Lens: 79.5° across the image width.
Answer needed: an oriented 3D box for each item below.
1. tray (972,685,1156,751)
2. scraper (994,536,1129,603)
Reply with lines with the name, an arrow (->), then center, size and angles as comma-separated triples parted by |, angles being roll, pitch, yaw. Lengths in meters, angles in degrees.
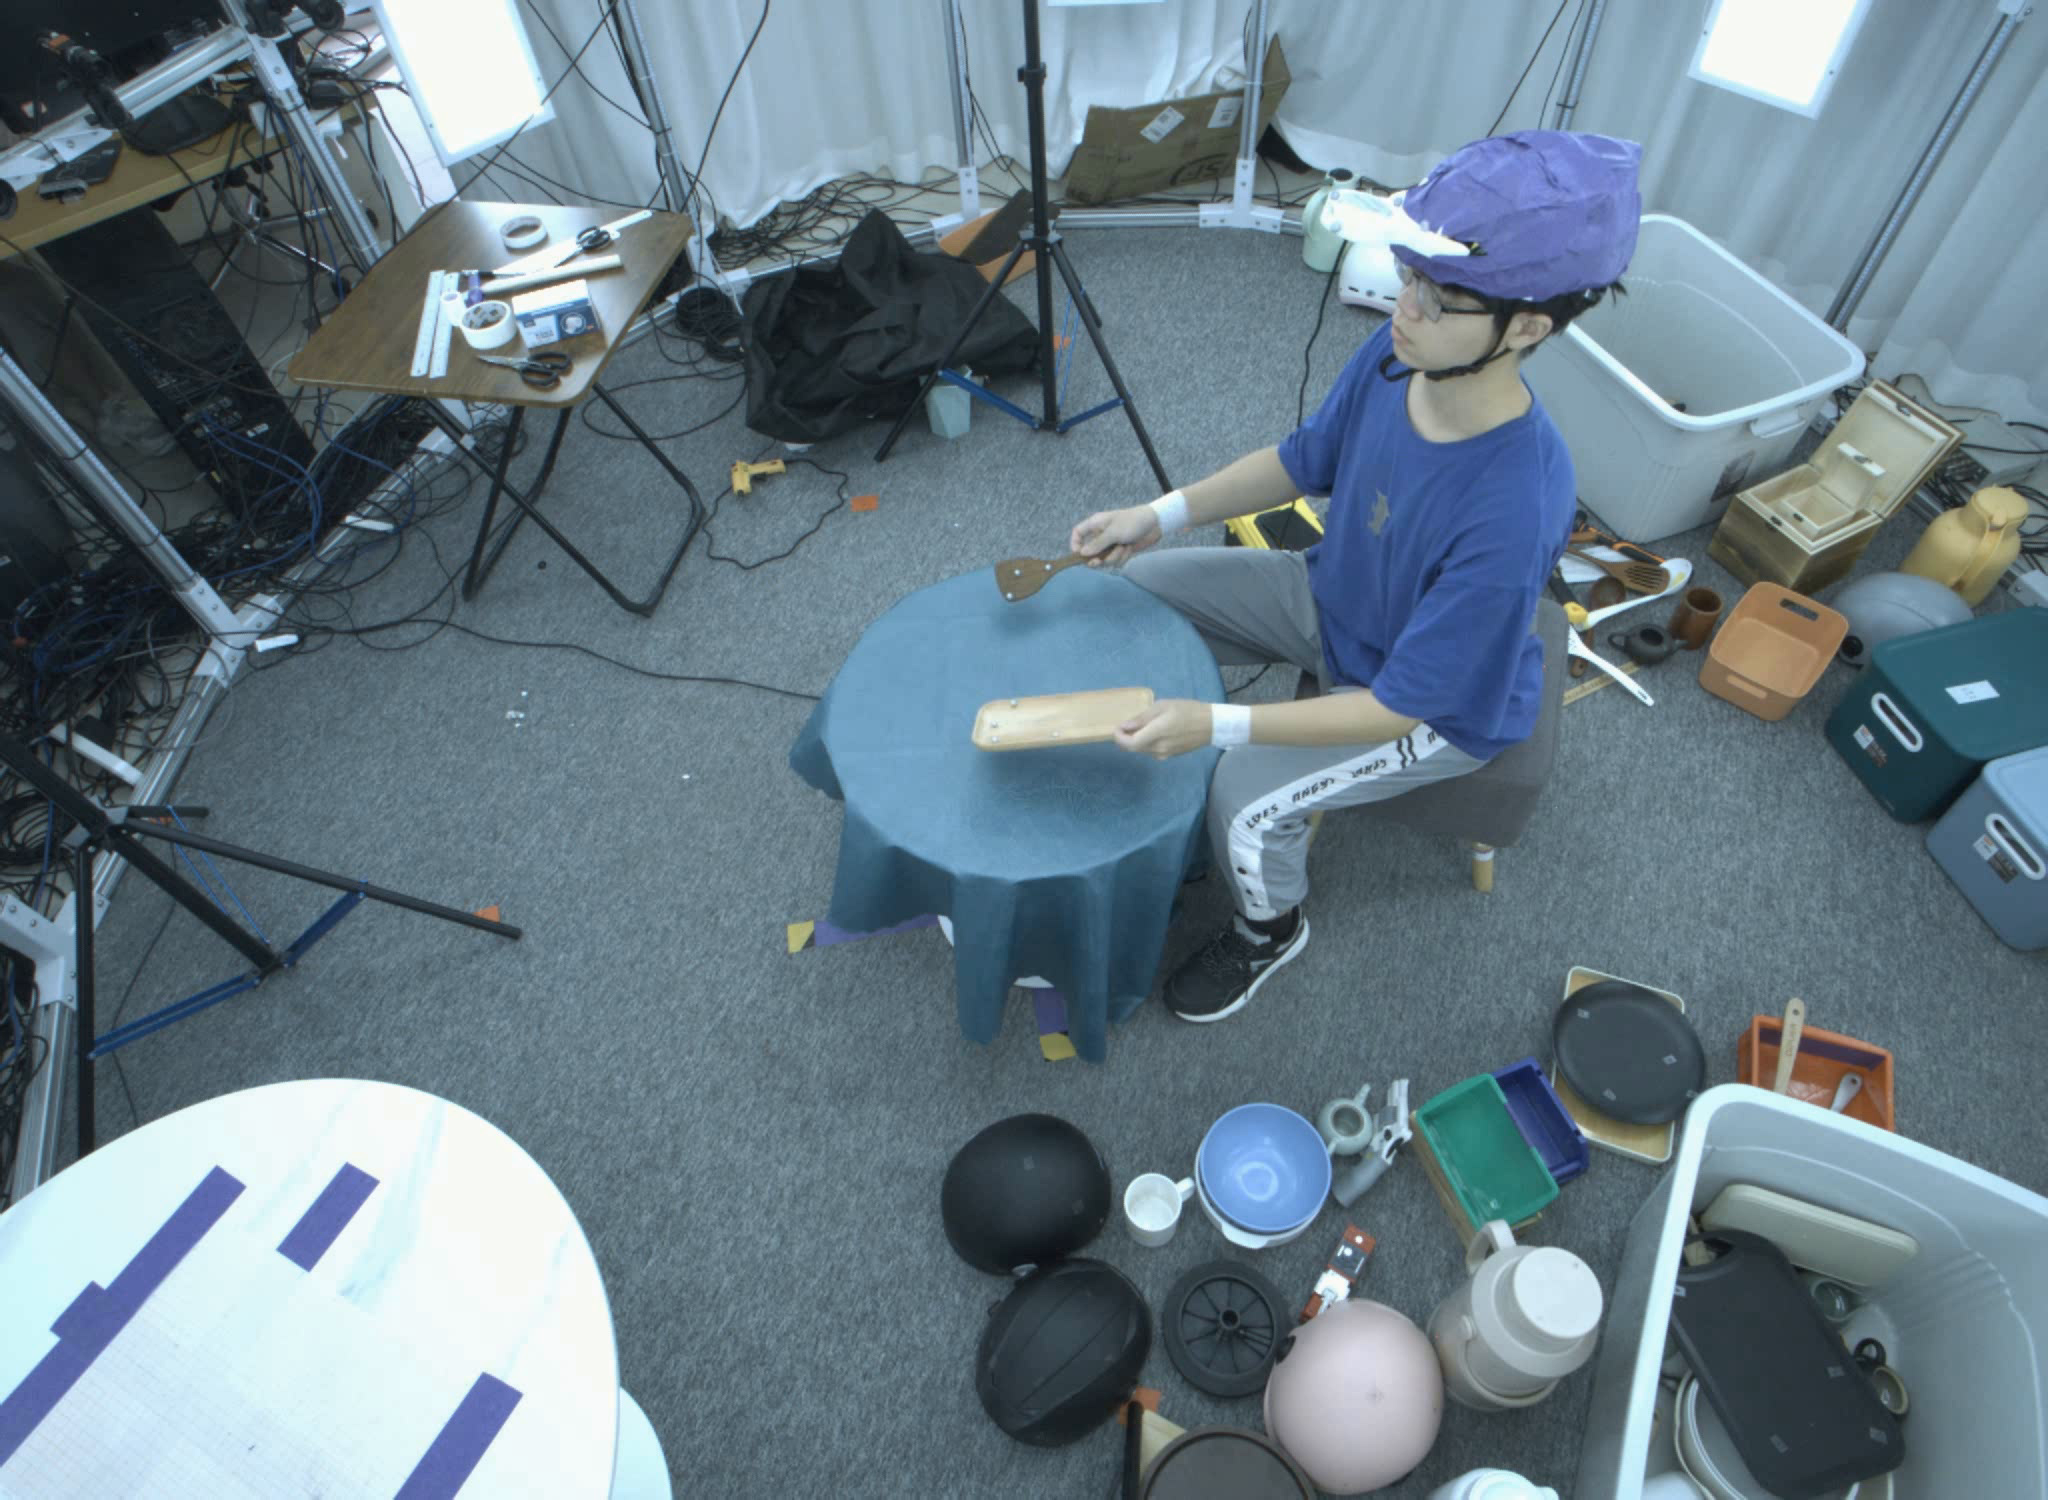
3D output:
tray -> 0.056, -0.044, 1.691 | 0.249, 0.023, 0.129 | -4, 33, 9
scraper -> 0.059, -0.286, 1.887 | 0.211, 0.011, 0.075 | -18, 68, 3
